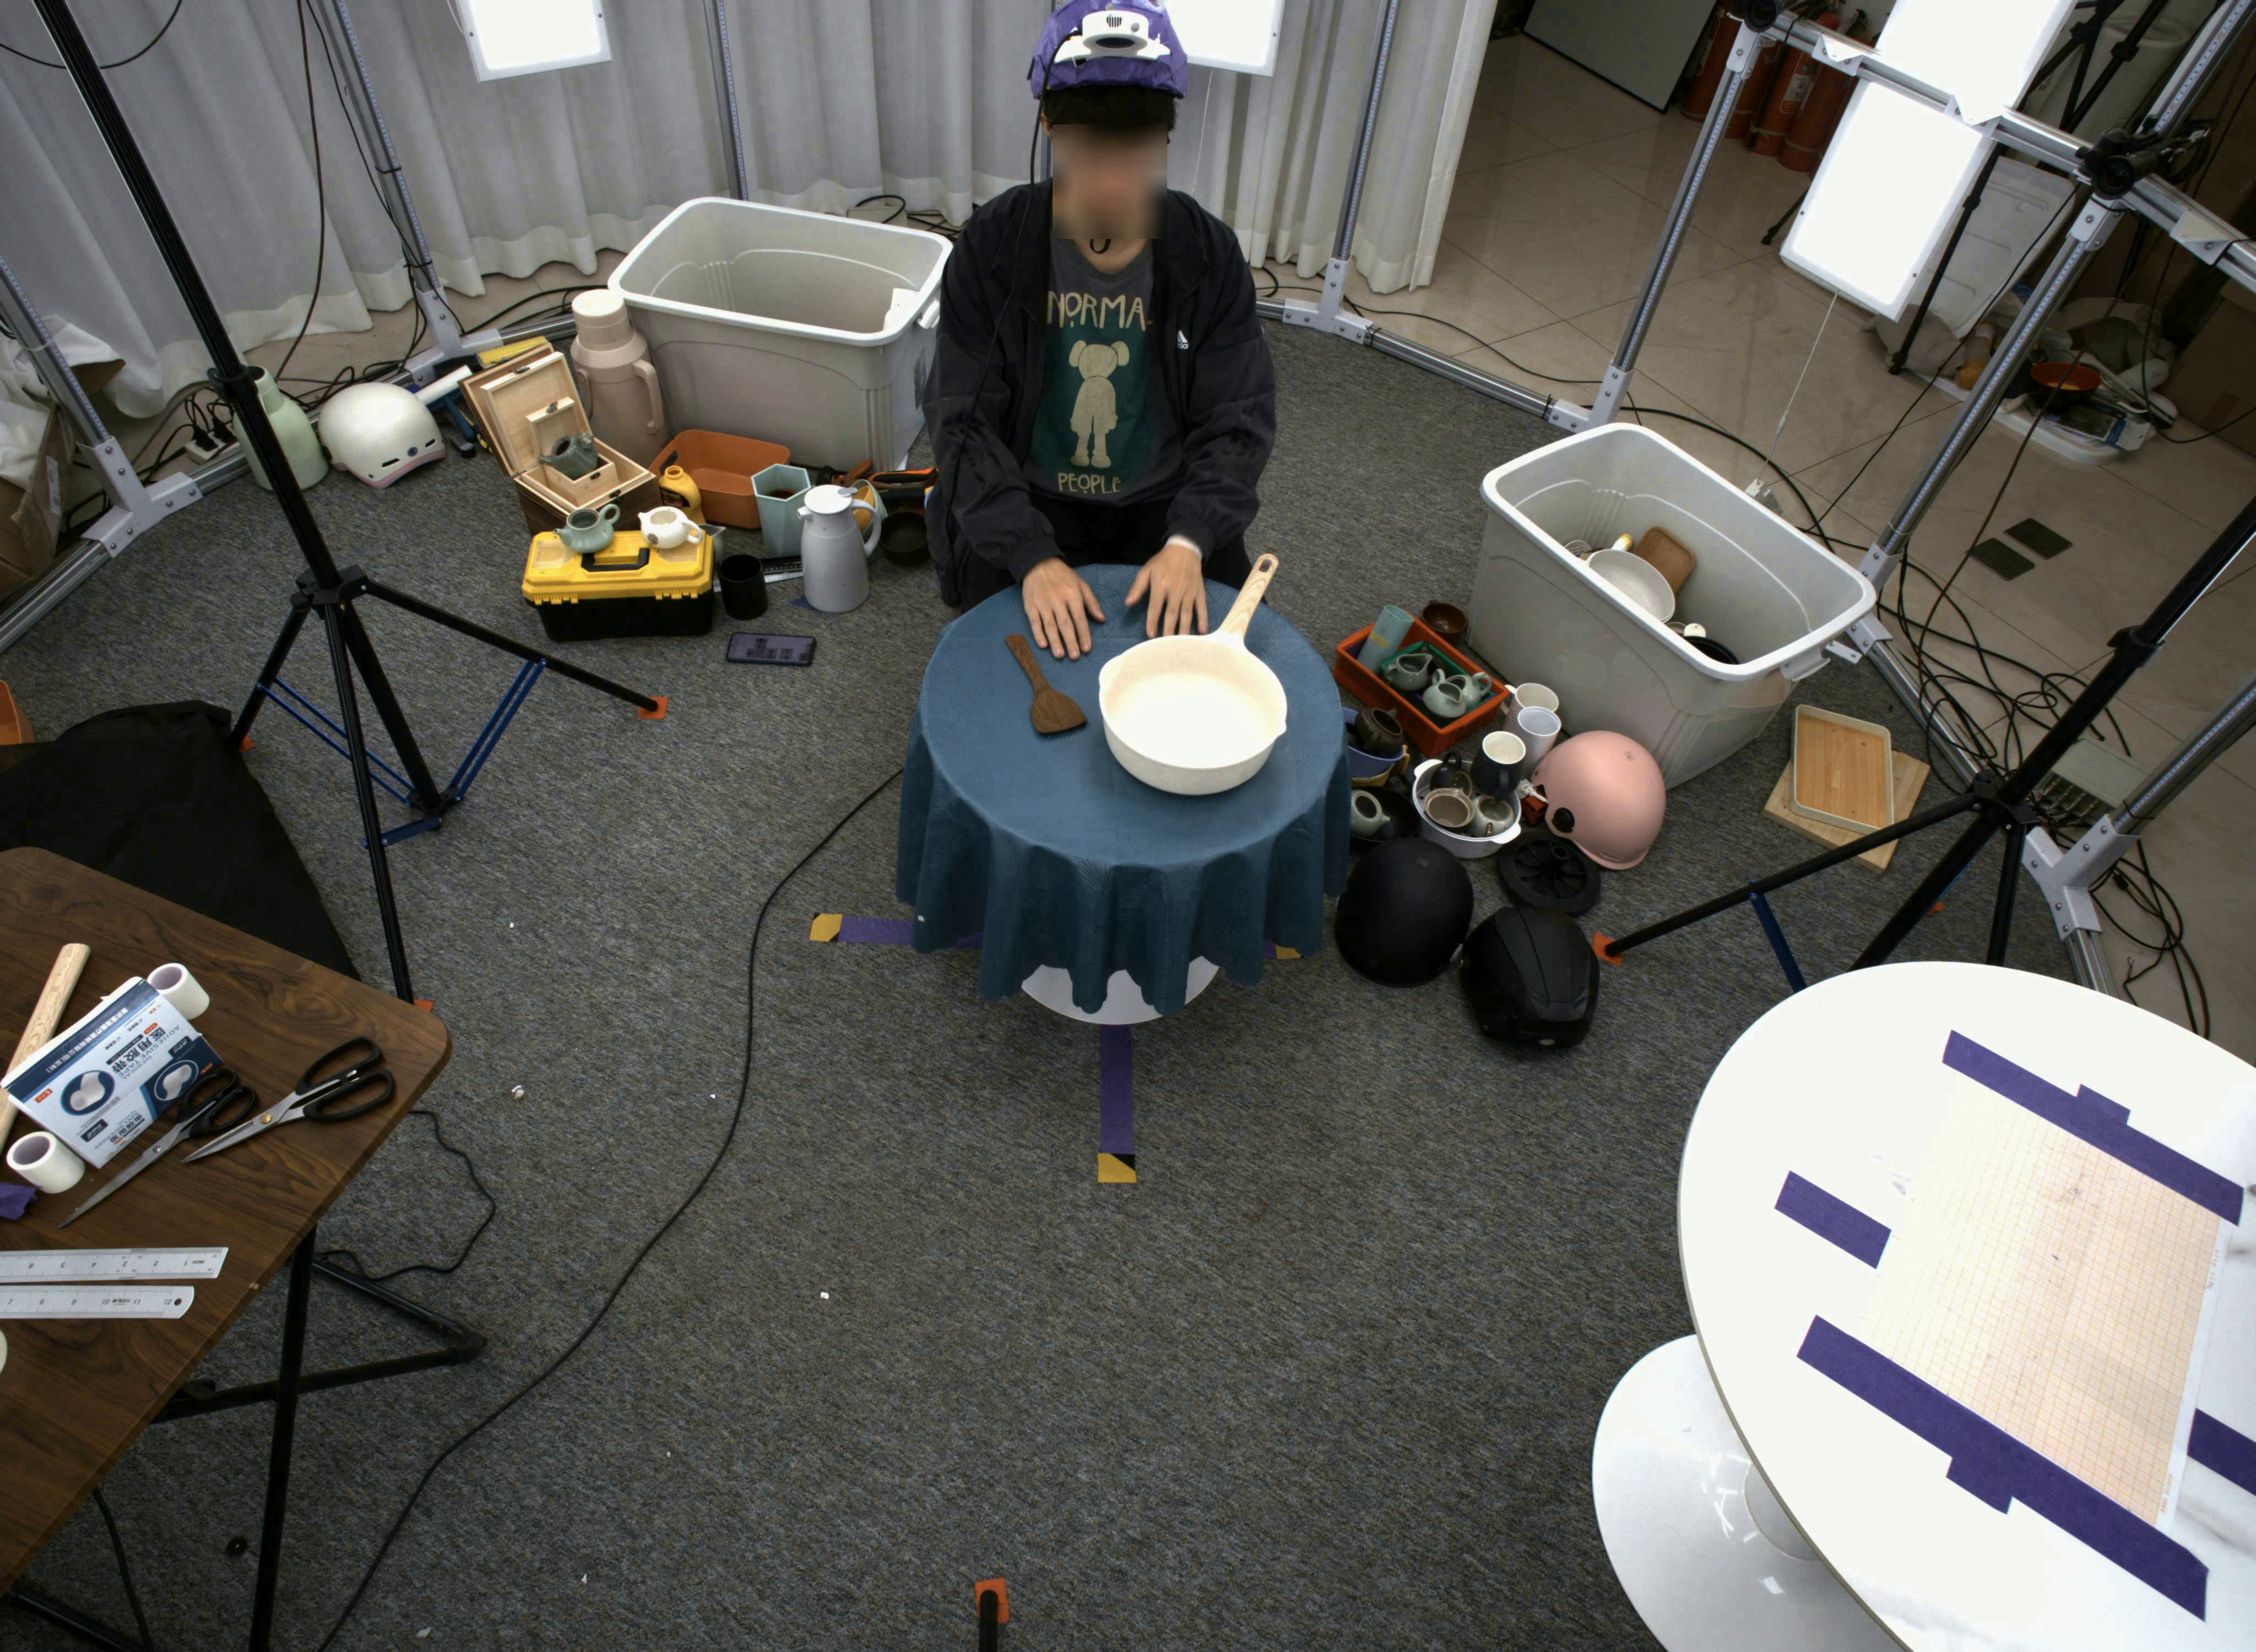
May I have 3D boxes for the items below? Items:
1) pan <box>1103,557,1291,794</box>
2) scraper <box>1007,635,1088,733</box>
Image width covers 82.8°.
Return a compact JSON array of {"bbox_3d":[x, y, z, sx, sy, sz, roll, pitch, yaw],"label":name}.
[{"bbox_3d":[0.126,-0.213,1.796,0.265,0.099,0.443,18,50,14],"label":"pan"},{"bbox_3d":[-0.126,-0.206,1.833,0.076,0.010,0.216,-15,50,-18],"label":"scraper"}]
